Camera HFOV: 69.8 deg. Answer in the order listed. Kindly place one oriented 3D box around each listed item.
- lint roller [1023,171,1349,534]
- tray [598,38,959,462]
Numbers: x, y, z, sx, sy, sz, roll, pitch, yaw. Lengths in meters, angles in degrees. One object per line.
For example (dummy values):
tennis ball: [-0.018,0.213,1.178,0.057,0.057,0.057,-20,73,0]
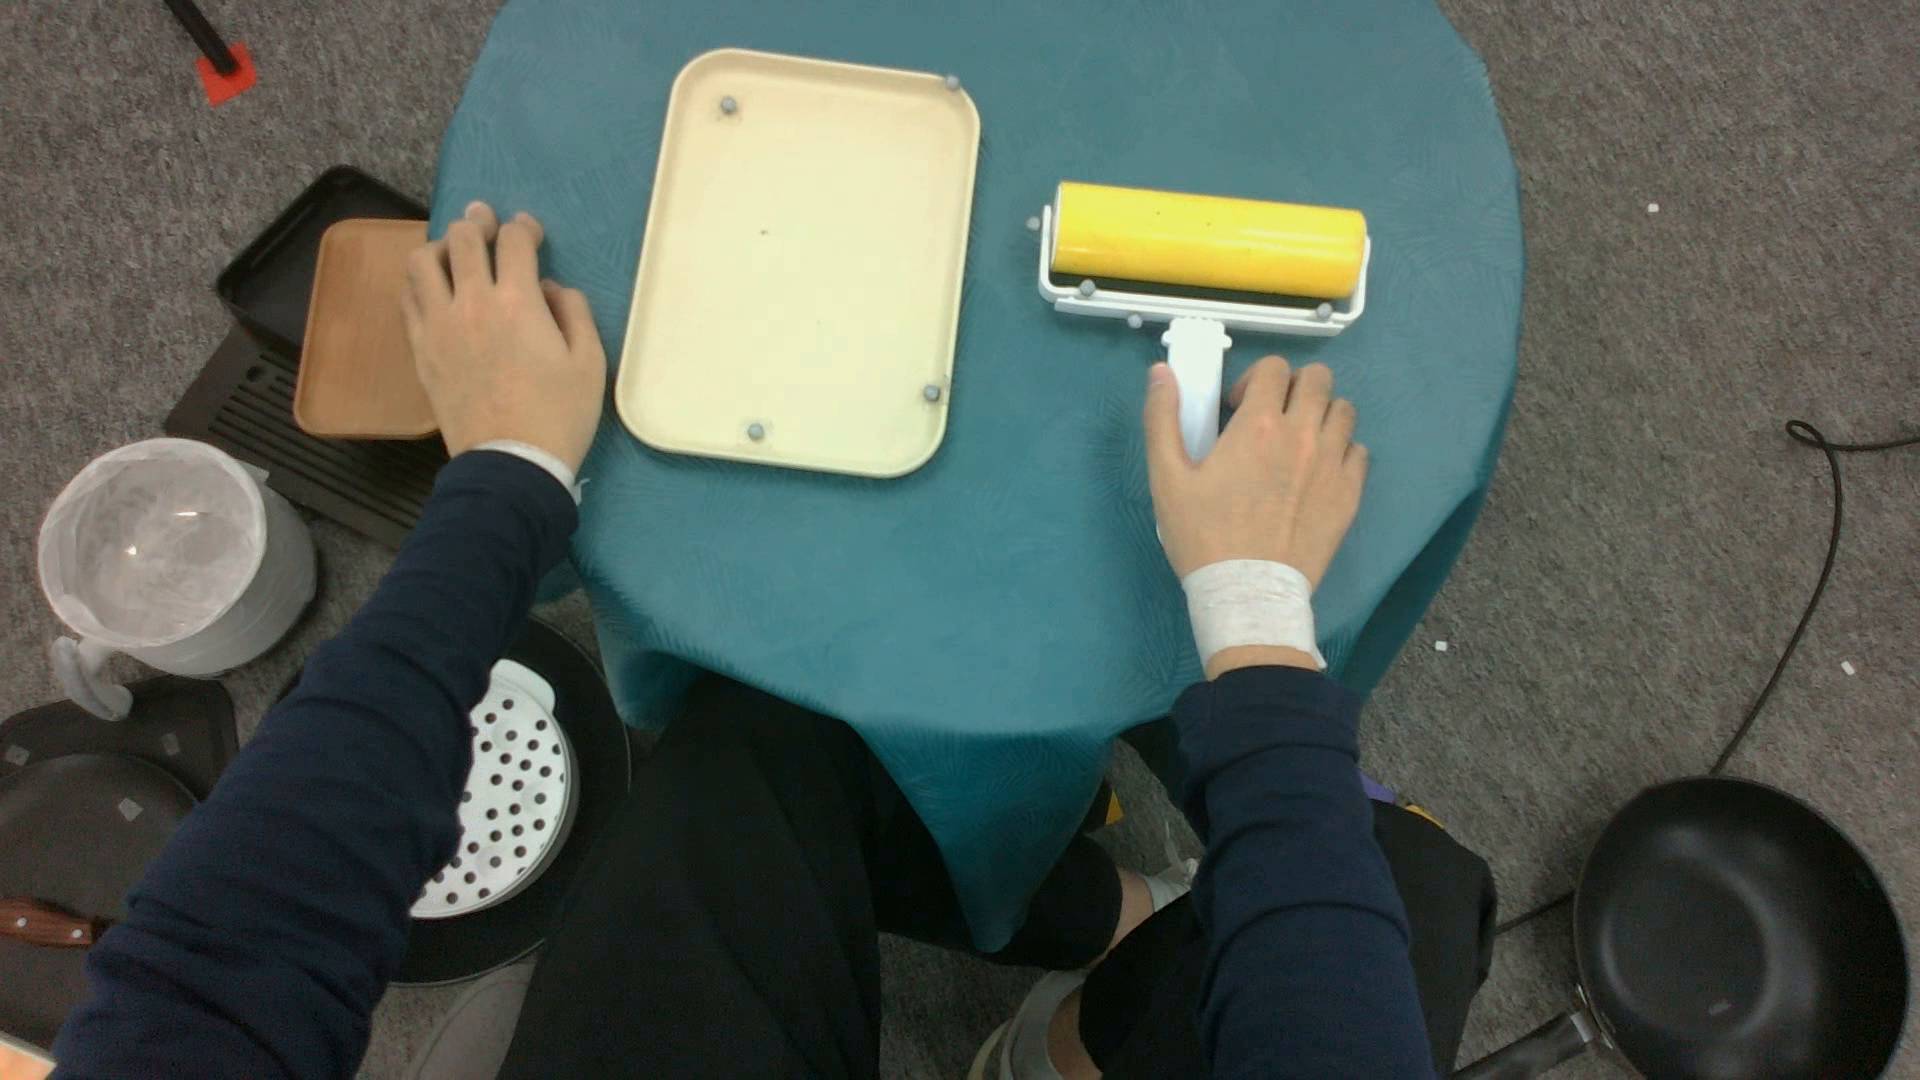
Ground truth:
lint roller: [0.118,-0.101,0.719,0.174,0.051,0.192,4,70,-2]
tray: [-0.093,-0.157,0.736,0.171,0.017,0.240,6,73,-2]
